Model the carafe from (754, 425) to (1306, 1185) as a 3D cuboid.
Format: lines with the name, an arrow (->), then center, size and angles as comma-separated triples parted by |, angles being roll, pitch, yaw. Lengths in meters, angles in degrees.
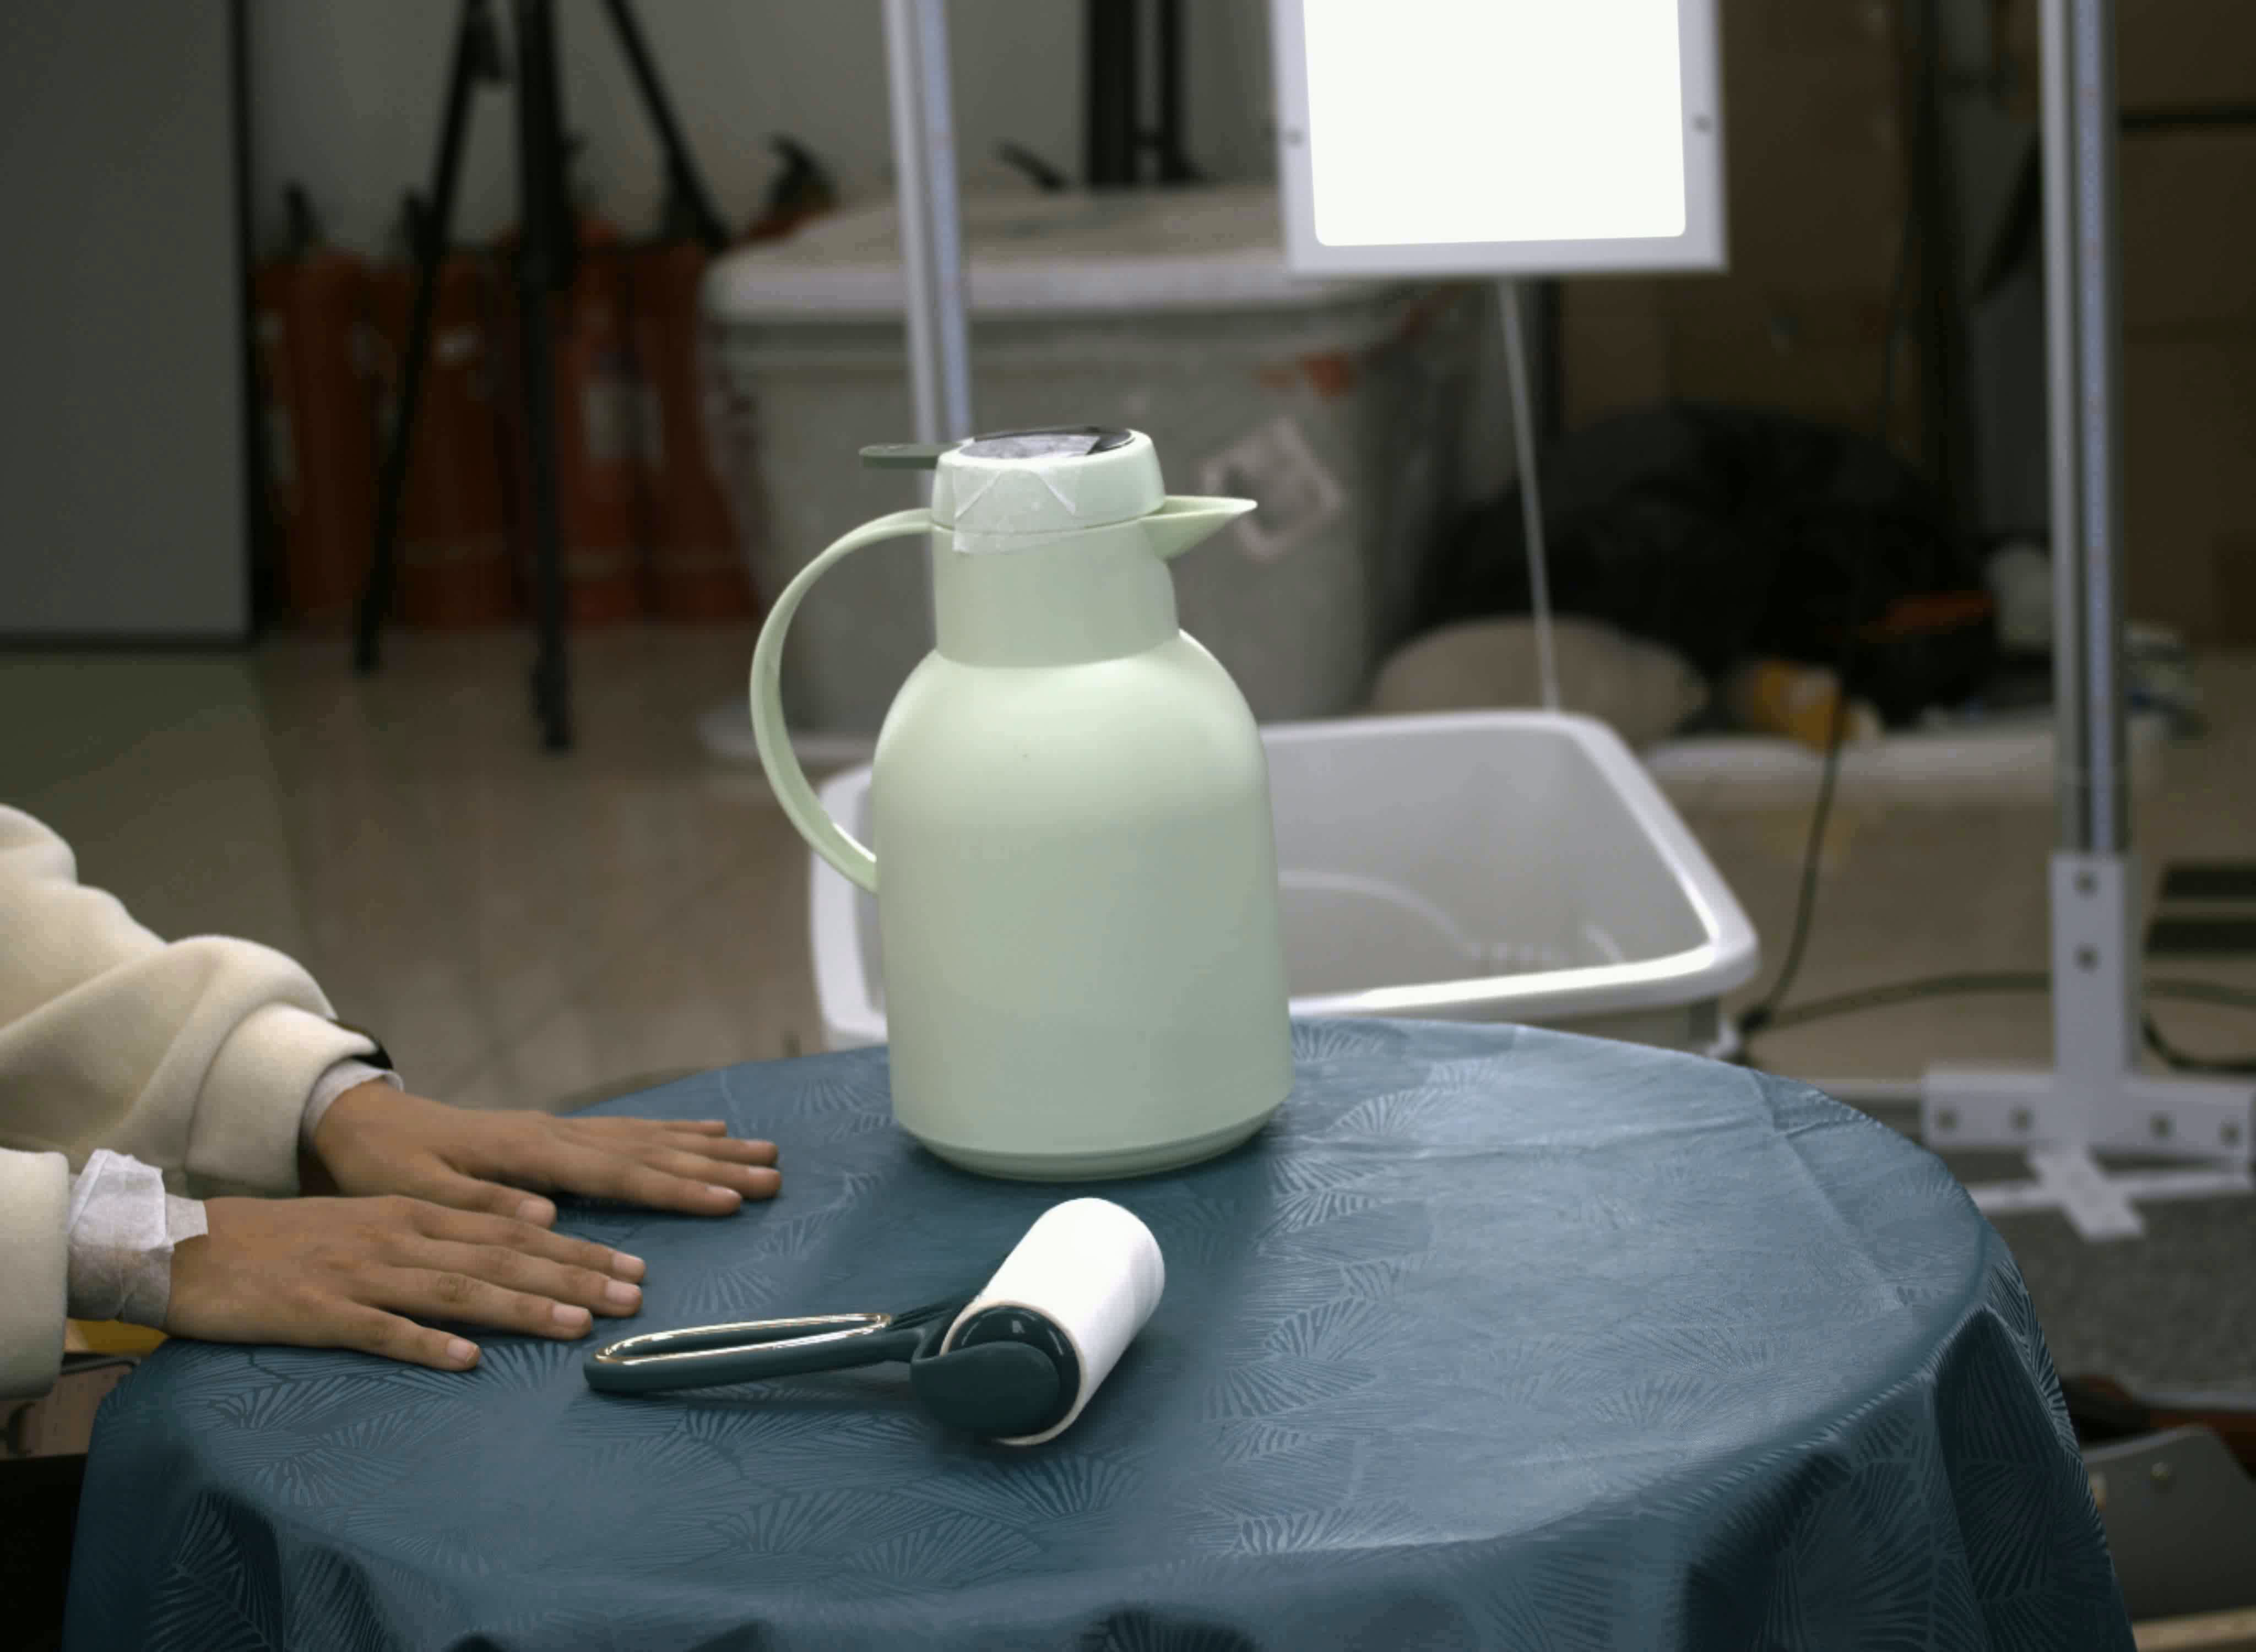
carafe -> -0.033, -0.011, 1.947 | 0.188, 0.257, 0.142 | -5, 15, 15

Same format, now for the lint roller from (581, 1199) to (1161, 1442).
lint roller -> -0.088, 0.153, 1.723 | 0.182, 0.048, 0.132 | -1, 14, 17
